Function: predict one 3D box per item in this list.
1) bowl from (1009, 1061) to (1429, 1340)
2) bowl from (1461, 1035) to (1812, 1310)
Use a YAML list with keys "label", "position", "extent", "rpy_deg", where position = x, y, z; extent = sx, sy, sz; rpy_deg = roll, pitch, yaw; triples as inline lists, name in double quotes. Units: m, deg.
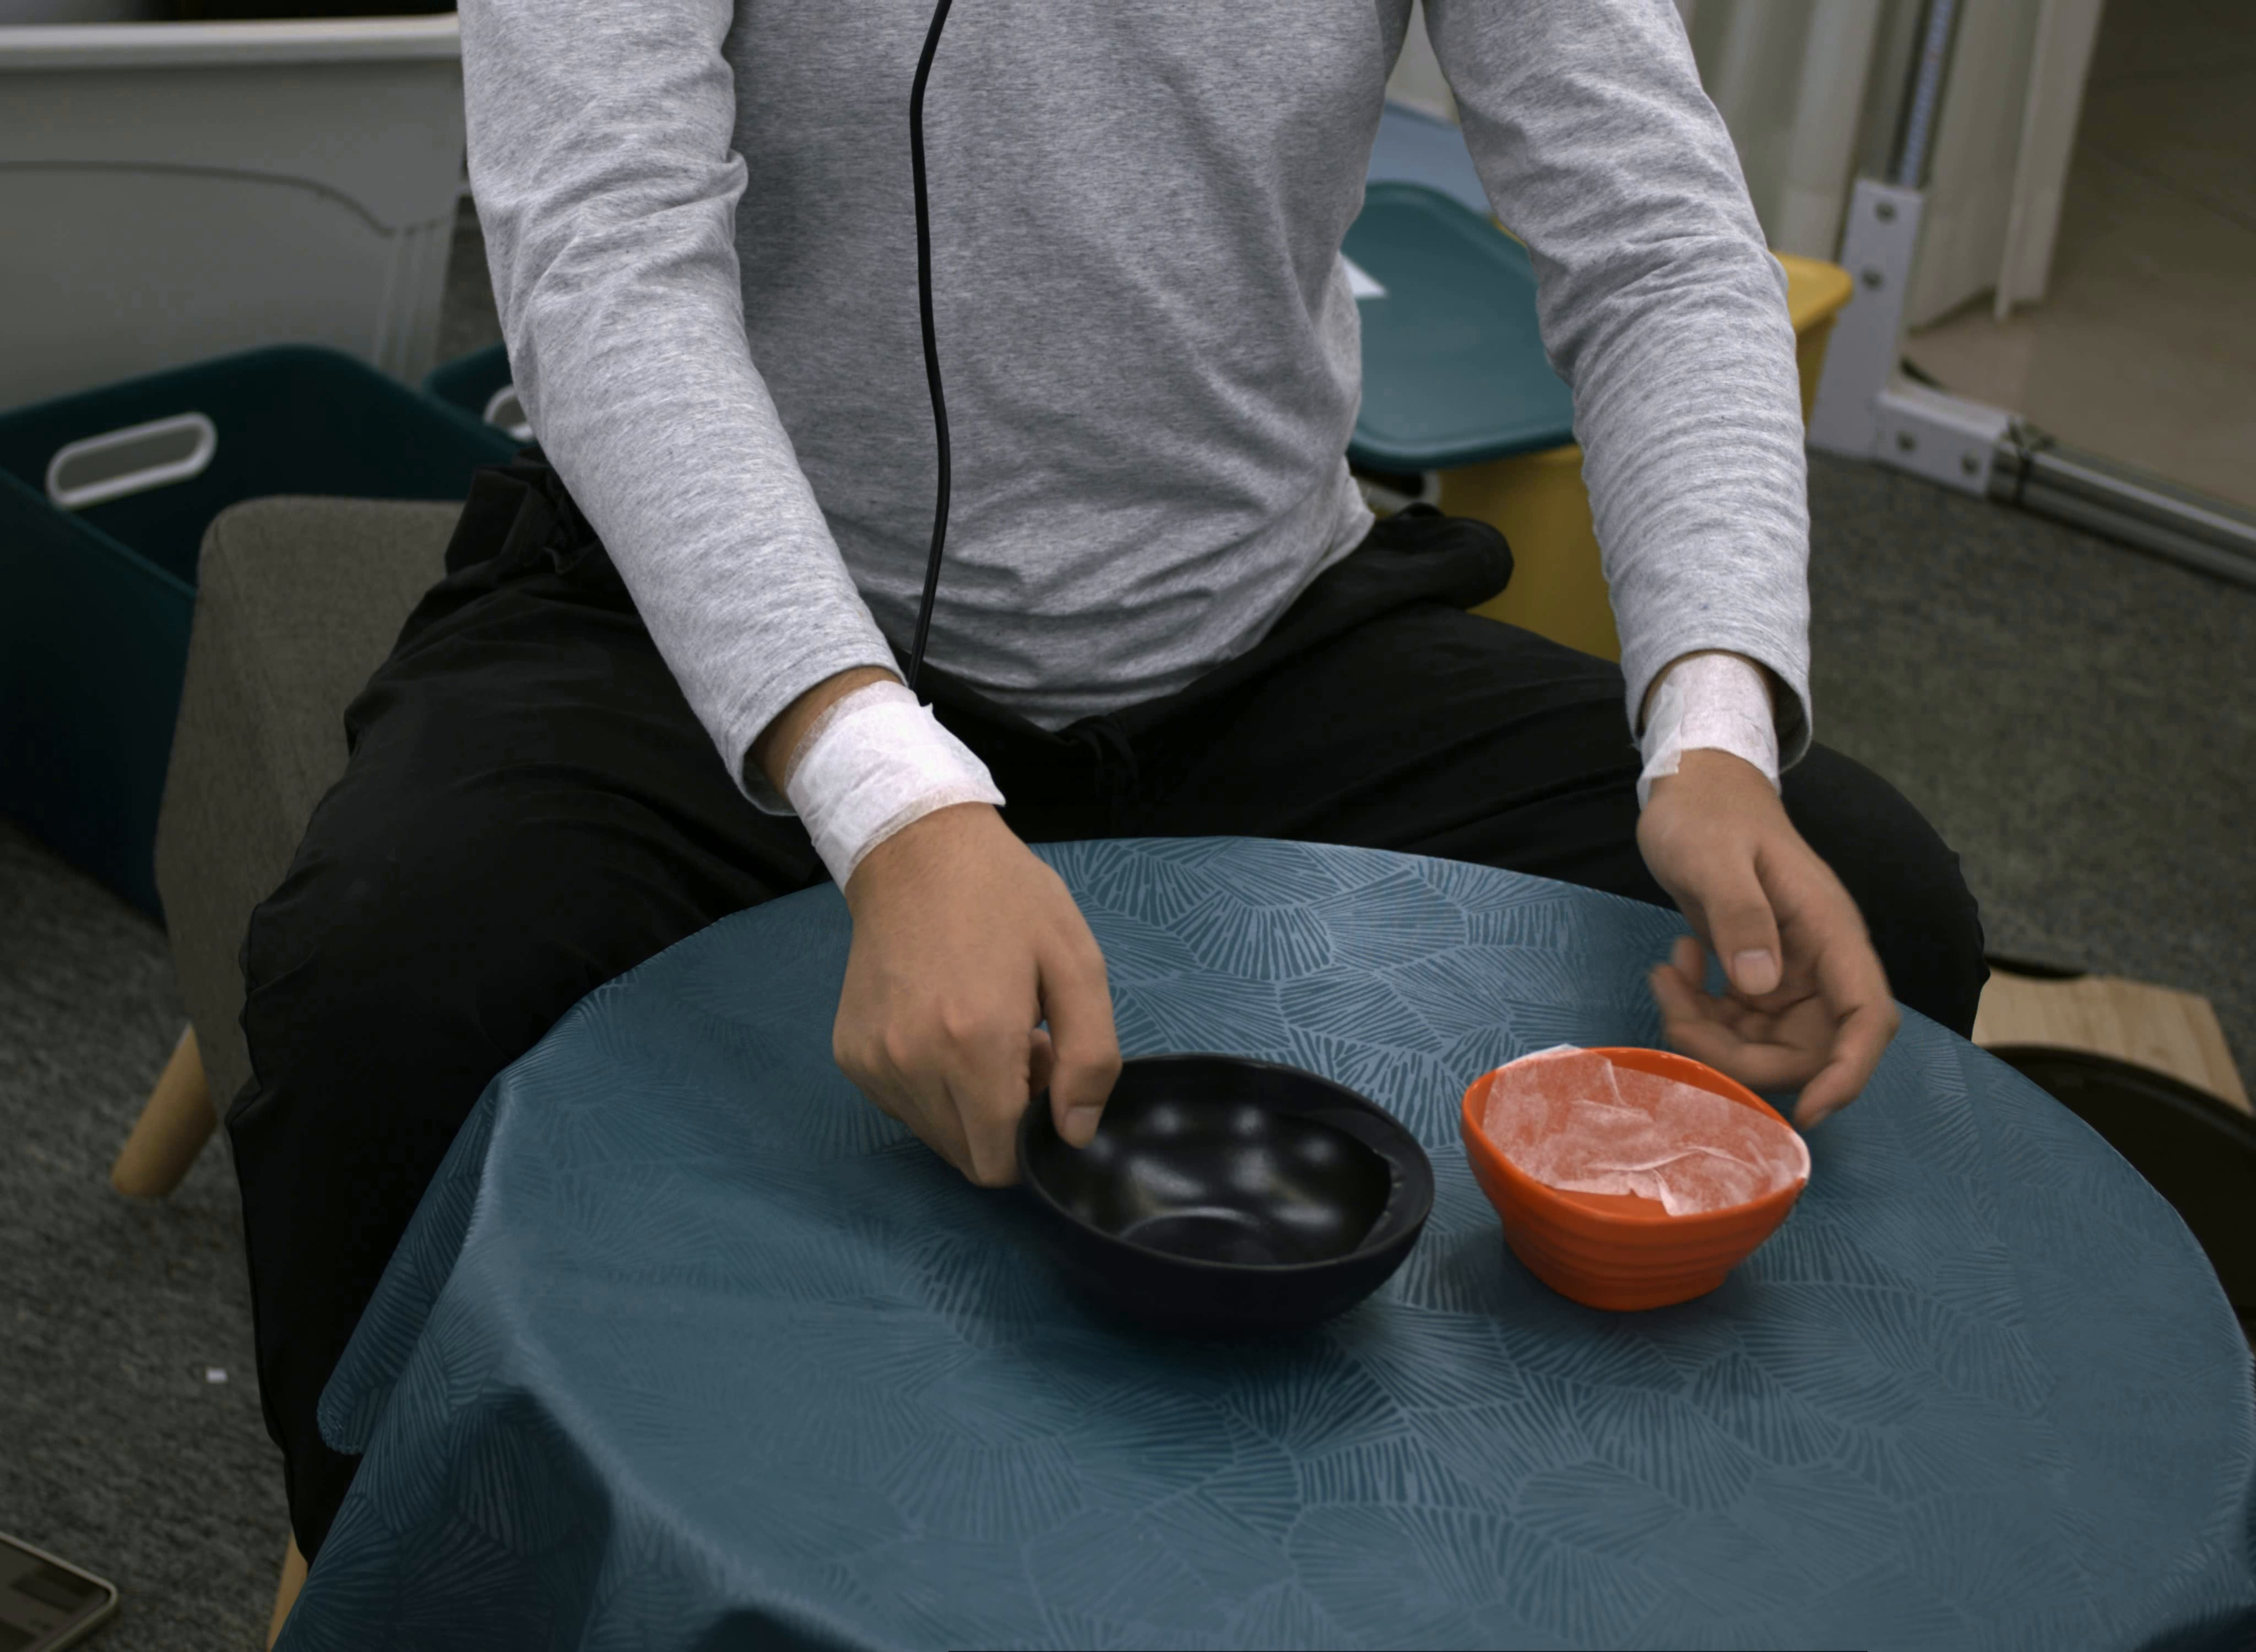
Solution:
- label: "bowl"
  position: [0.028, 0.130, 1.748]
  extent: [0.139, 0.049, 0.141]
  rpy_deg: [5, 24, -3]
- label: "bowl"
  position: [0.167, 0.121, 1.789]
  extent: [0.118, 0.051, 0.119]
  rpy_deg: [5, 29, -3]
